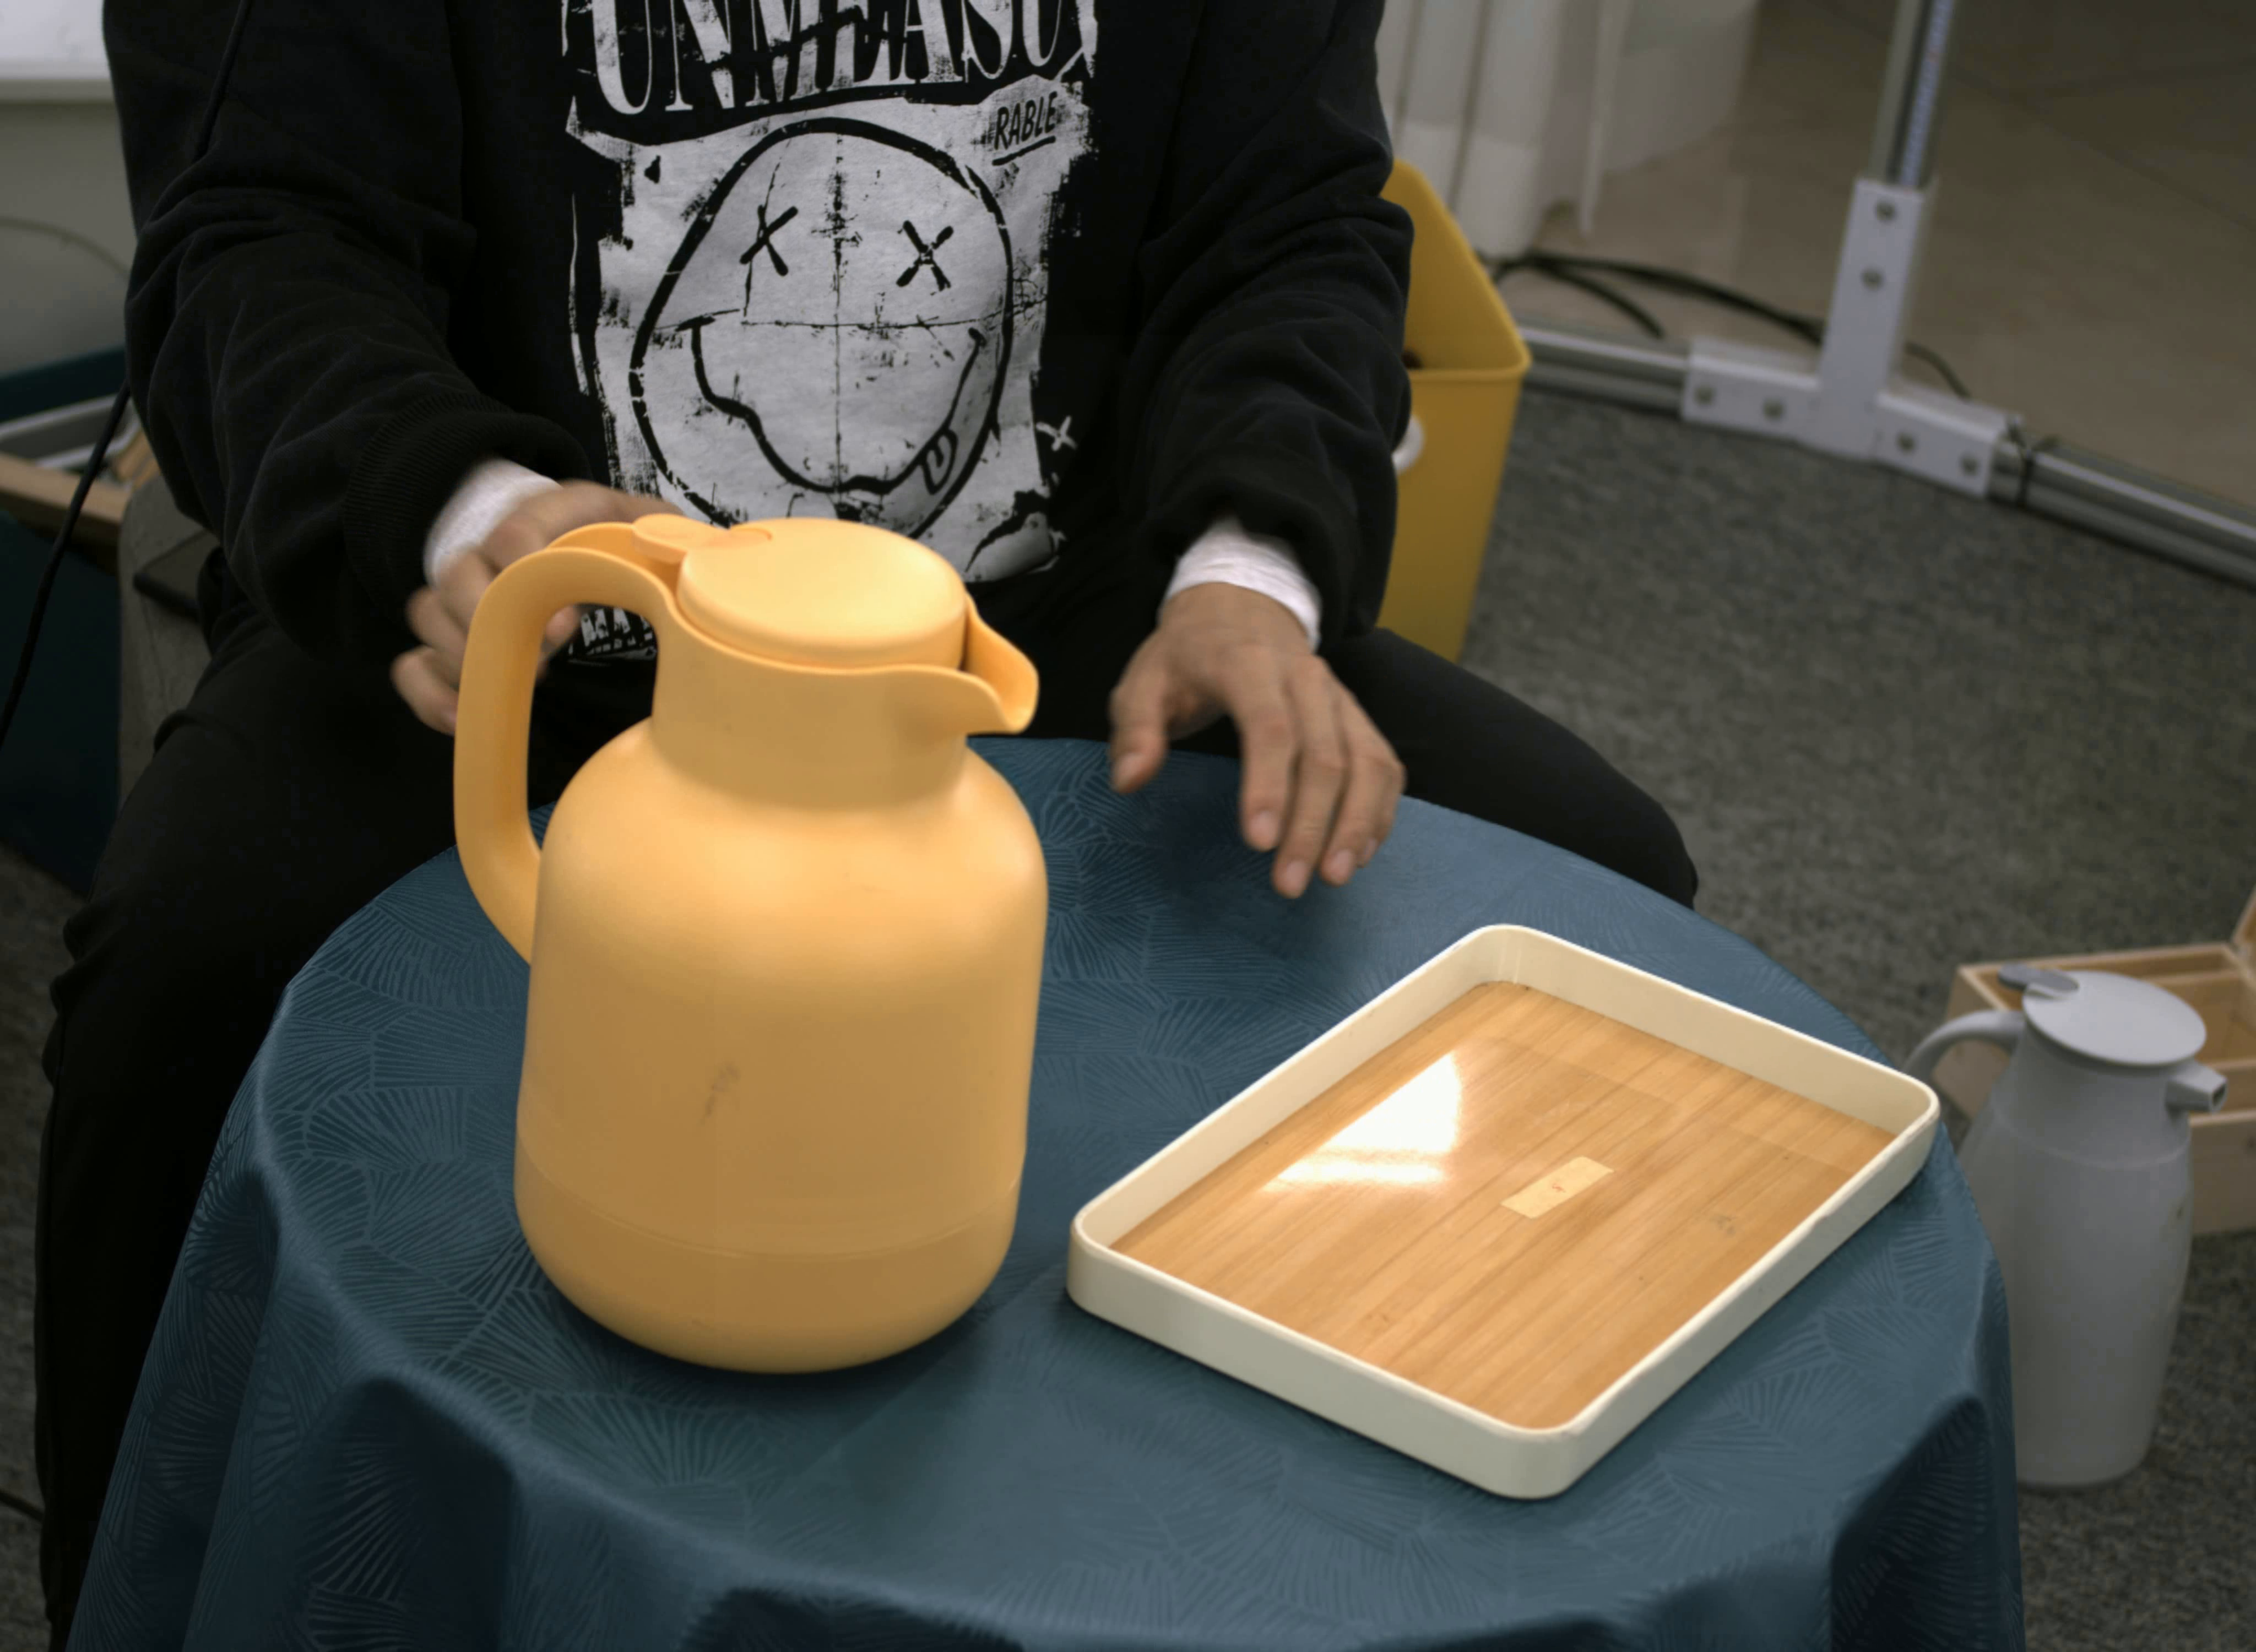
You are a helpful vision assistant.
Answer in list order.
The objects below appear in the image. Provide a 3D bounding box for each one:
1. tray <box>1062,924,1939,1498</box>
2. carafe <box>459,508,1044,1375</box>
[{"bbox_3d":[0.131,0.124,1.805,0.192,0.027,0.299,22,30,27],"label":"tray"},{"bbox_3d":[-0.124,0.026,1.684,0.203,0.260,0.163,21,27,25],"label":"carafe"}]
